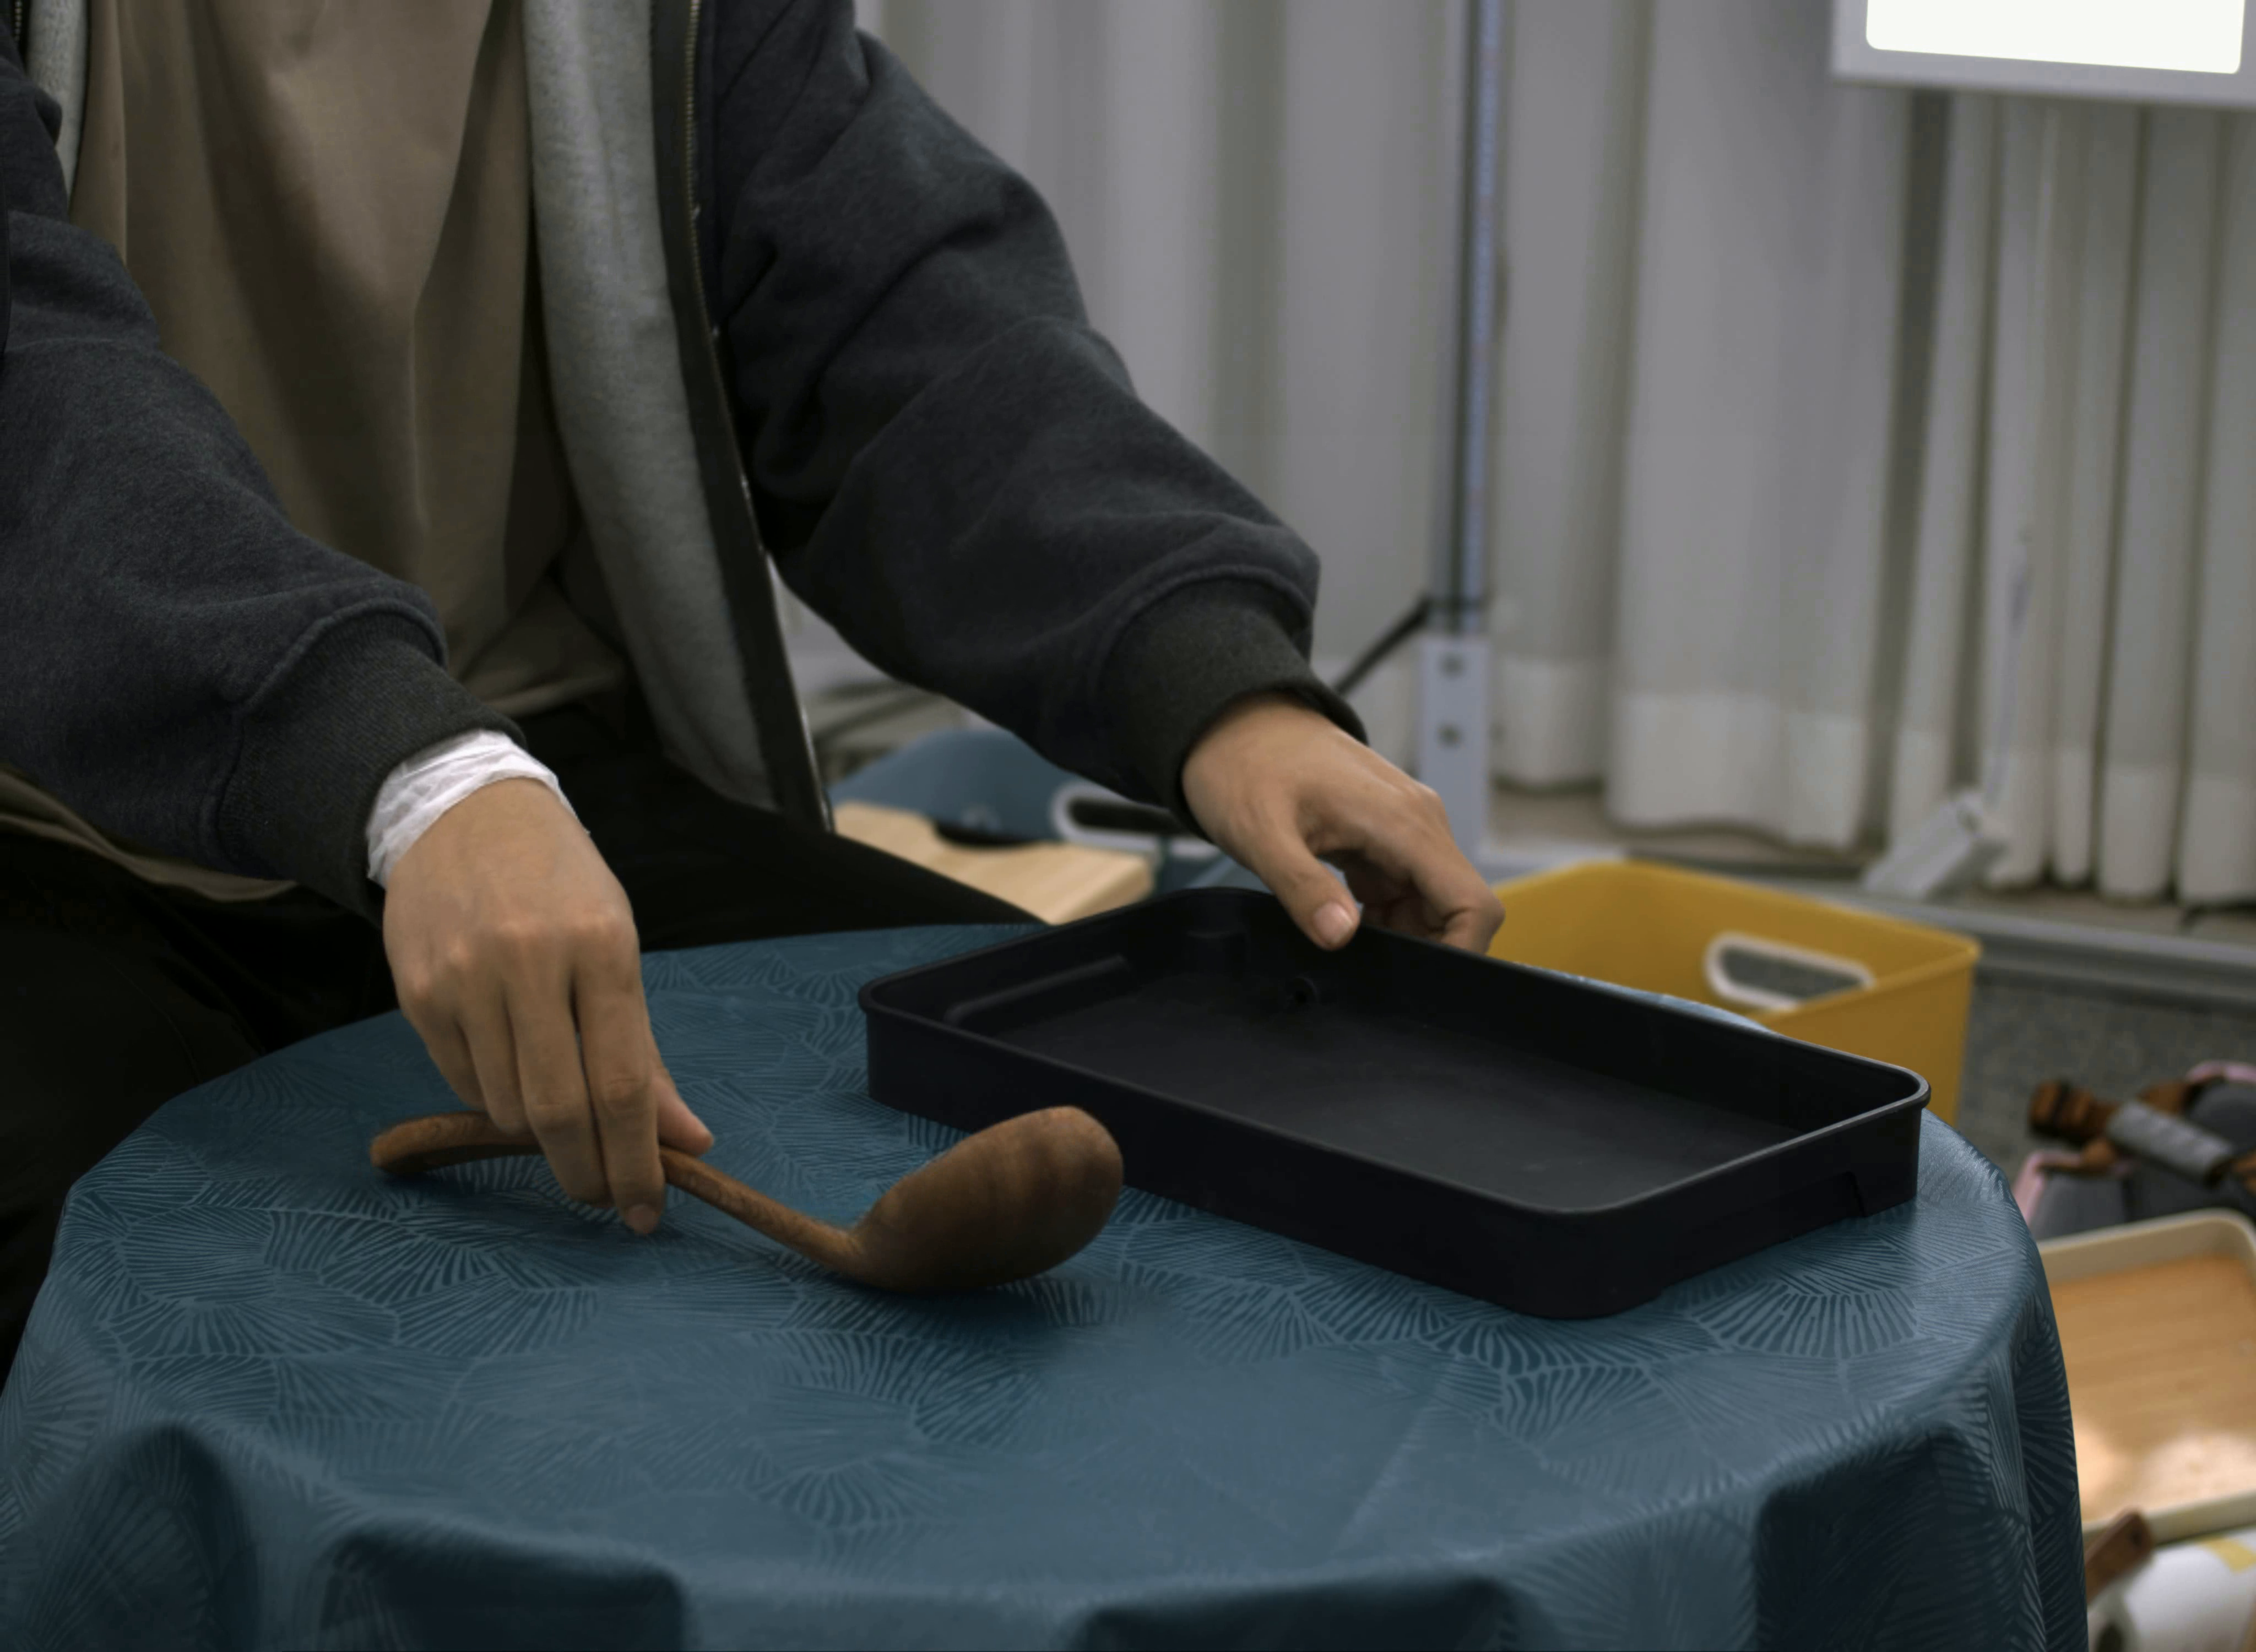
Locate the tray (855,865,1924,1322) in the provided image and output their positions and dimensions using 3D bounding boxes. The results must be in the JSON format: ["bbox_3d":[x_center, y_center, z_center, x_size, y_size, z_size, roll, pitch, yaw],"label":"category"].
[{"bbox_3d":[0.078,0.079,1.668,0.313,0.037,0.185,17,23,42],"label":"tray"}]

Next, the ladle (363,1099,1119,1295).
[{"bbox_3d":[-0.119,0.094,1.566,0.257,0.065,0.077,10,-8,31],"label":"ladle"}]
